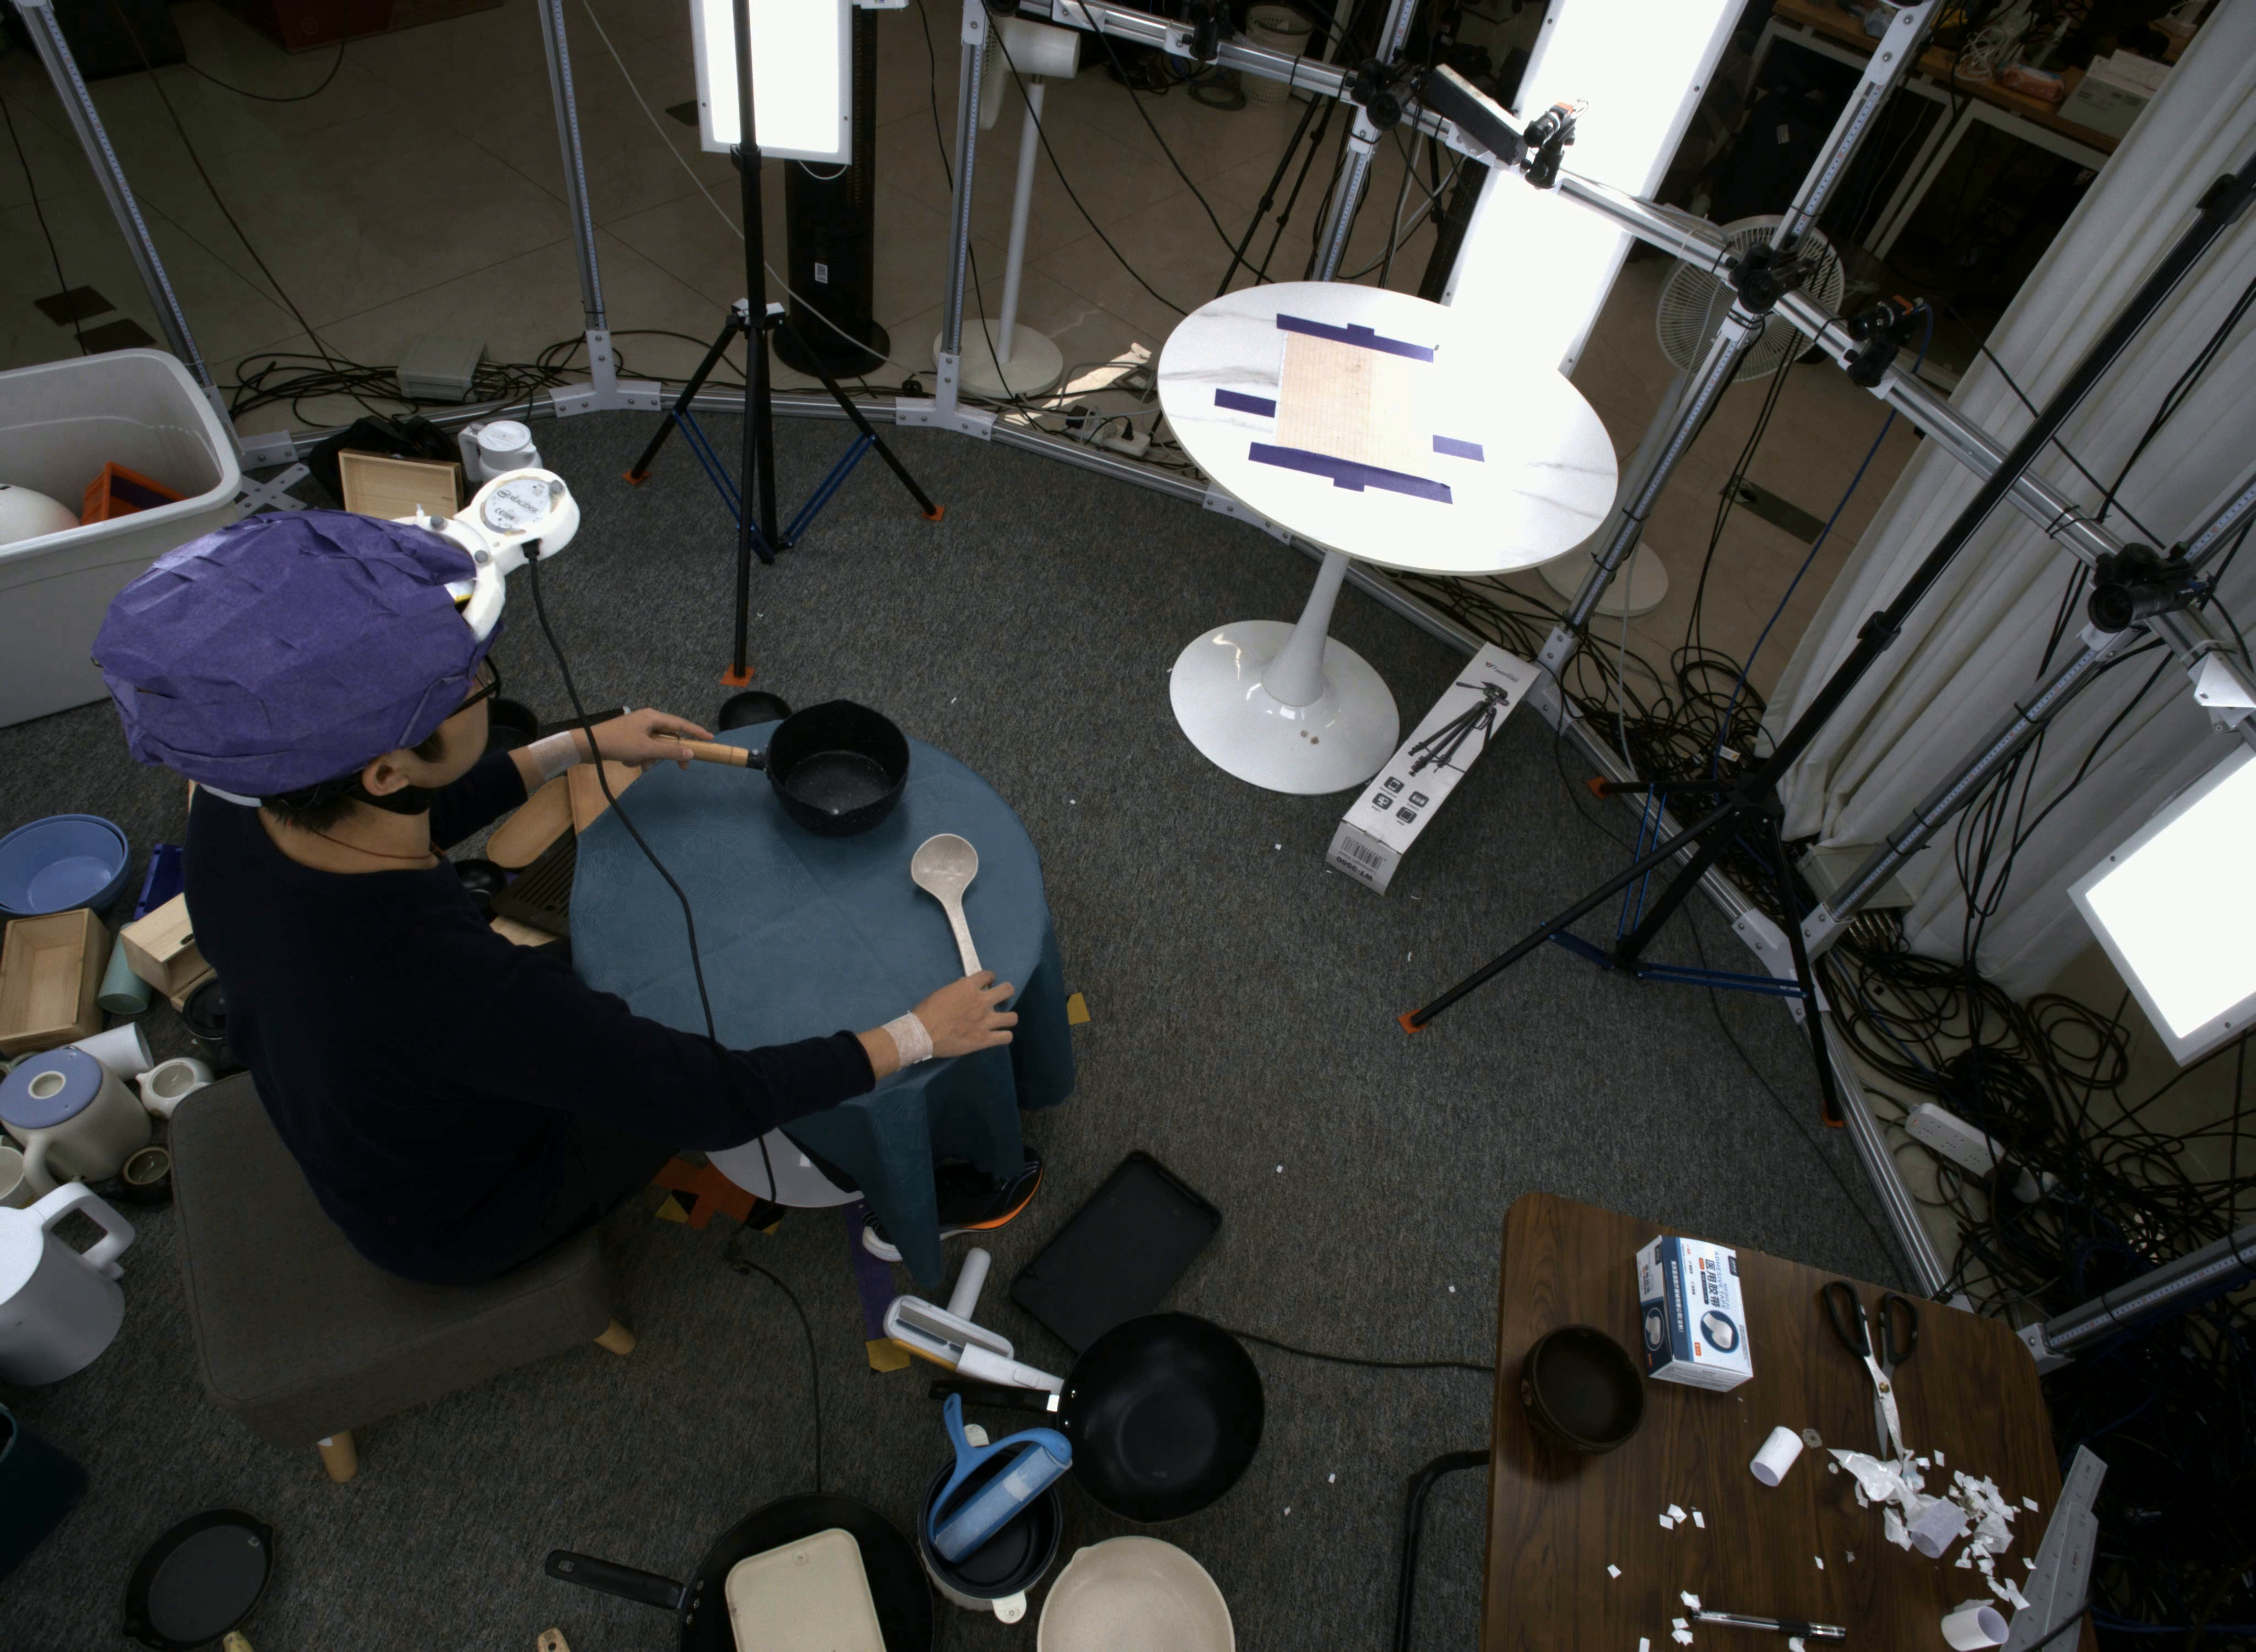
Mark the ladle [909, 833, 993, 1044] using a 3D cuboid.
[{"bbox_3d":[-0.206,0.134,1.629,0.090,0.070,0.268,-6,56,-25],"label":"ladle"}]

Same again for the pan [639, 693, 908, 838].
[{"bbox_3d":[-0.462,-0.078,1.692,0.344,0.110,0.203,1,54,-16],"label":"pan"}]
